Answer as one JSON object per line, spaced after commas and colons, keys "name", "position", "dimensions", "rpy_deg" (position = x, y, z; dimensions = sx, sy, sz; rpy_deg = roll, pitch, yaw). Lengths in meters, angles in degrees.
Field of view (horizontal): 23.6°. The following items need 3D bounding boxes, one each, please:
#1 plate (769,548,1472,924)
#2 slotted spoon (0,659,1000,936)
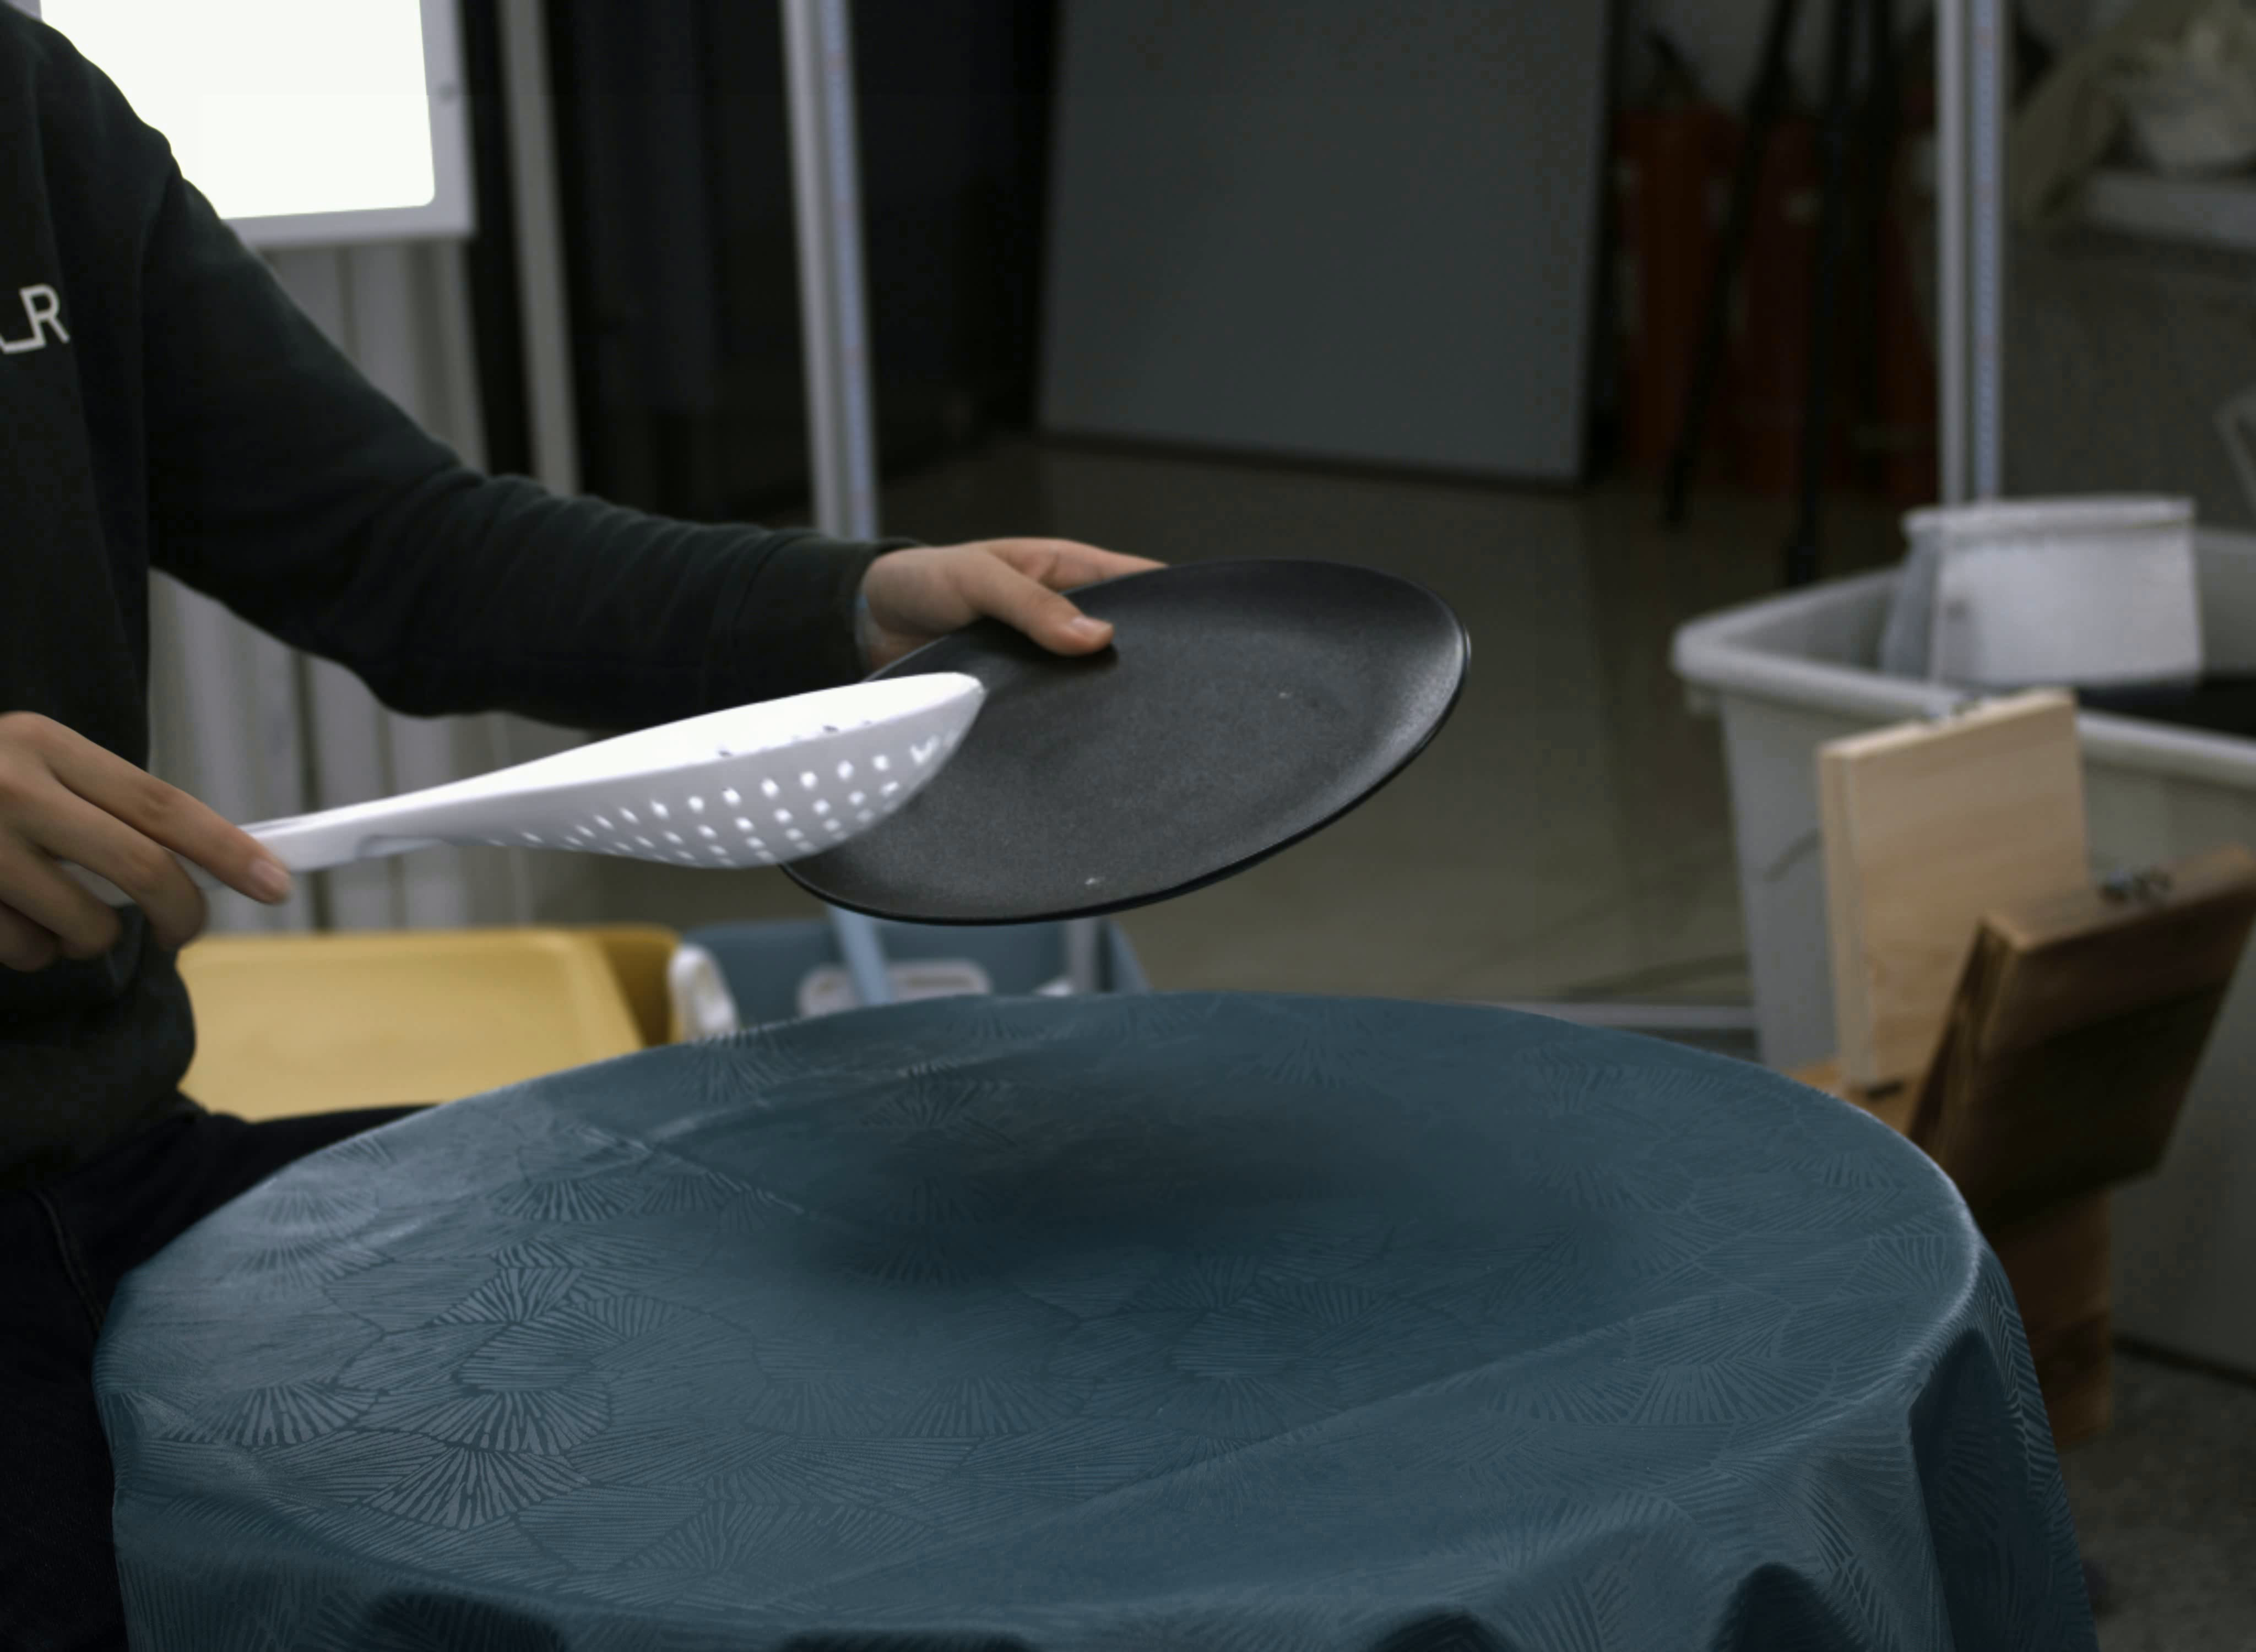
{"name": "plate", "position": [-0.002, -0.025, 1.777], "dimensions": [0.242, 0.023, 0.245], "rpy_deg": [-15, 26, 6]}
{"name": "slotted spoon", "position": [-0.204, -0.002, 1.550], "dimensions": [0.347, 0.046, 0.135], "rpy_deg": [-7, 7, 9]}
